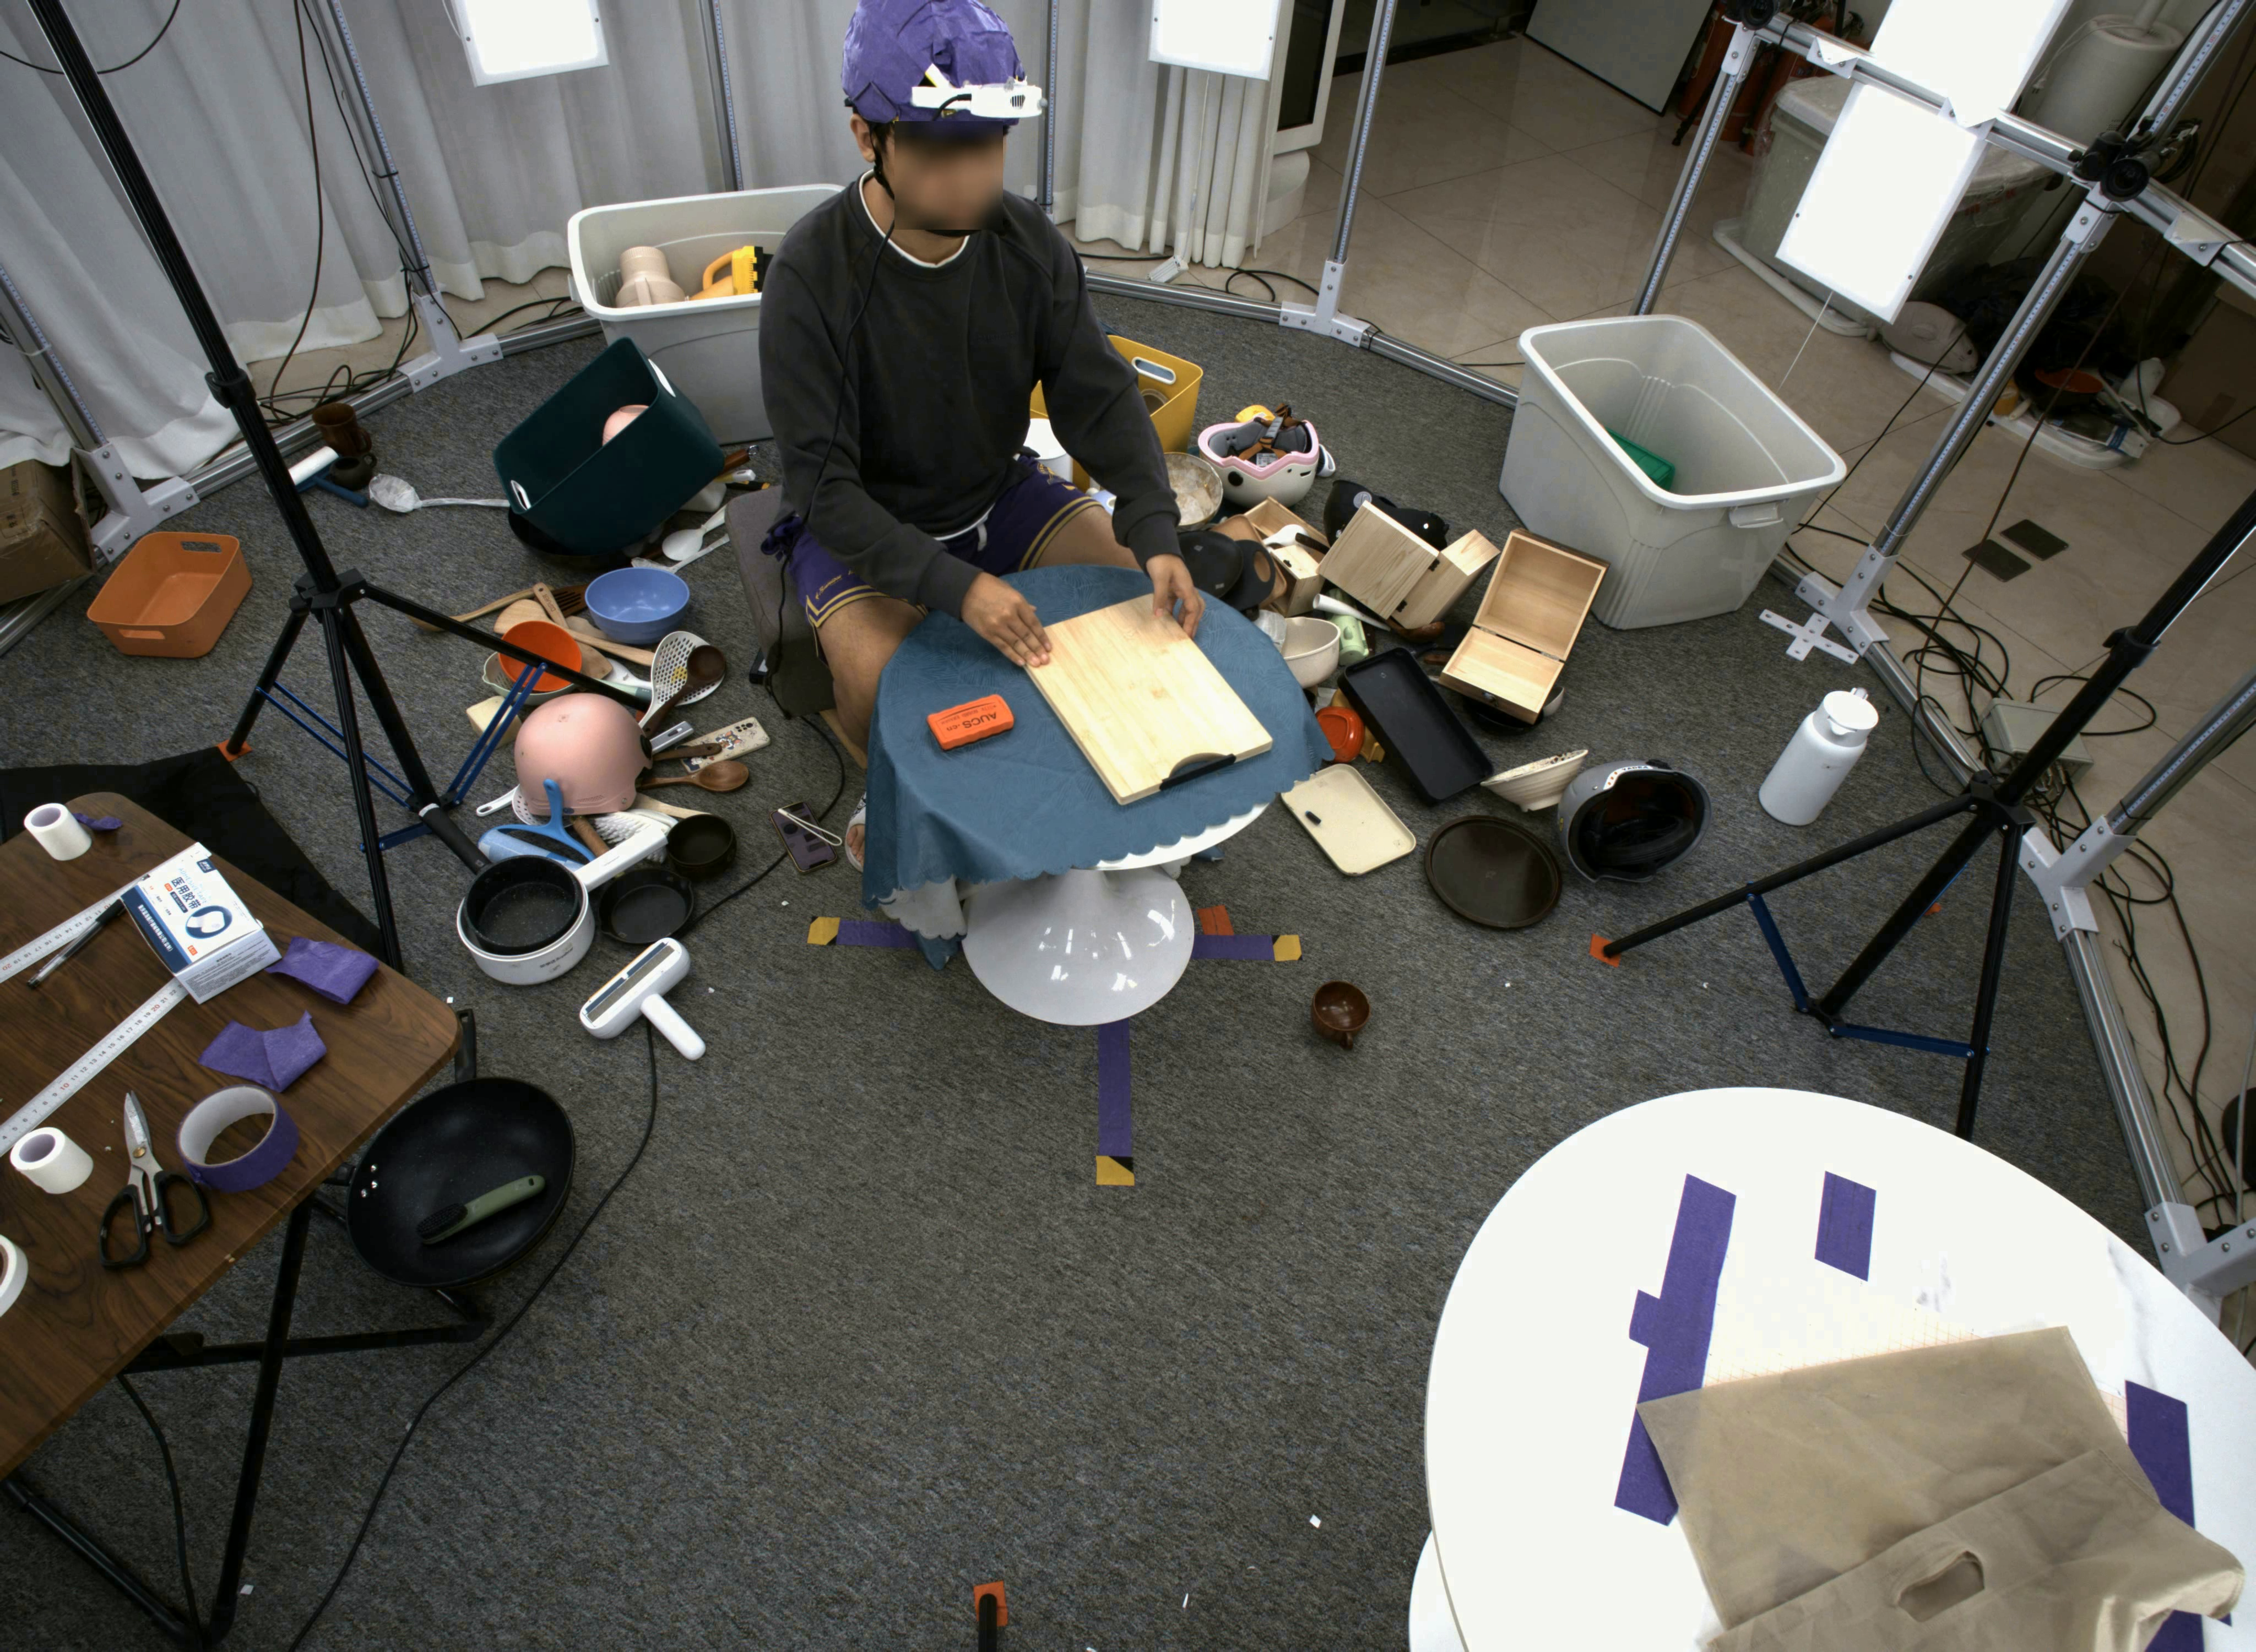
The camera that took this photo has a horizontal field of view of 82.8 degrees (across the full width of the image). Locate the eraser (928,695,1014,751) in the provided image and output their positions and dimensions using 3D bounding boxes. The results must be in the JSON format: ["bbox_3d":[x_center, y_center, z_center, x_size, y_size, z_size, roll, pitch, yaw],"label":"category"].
[{"bbox_3d":[-0.214,-0.142,1.759,0.108,0.022,0.060,-19,53,-20],"label":"eraser"}]

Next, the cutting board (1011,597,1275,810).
[{"bbox_3d":[0.016,-0.185,1.817,0.251,0.023,0.356,-21,54,-20],"label":"cutting board"}]
